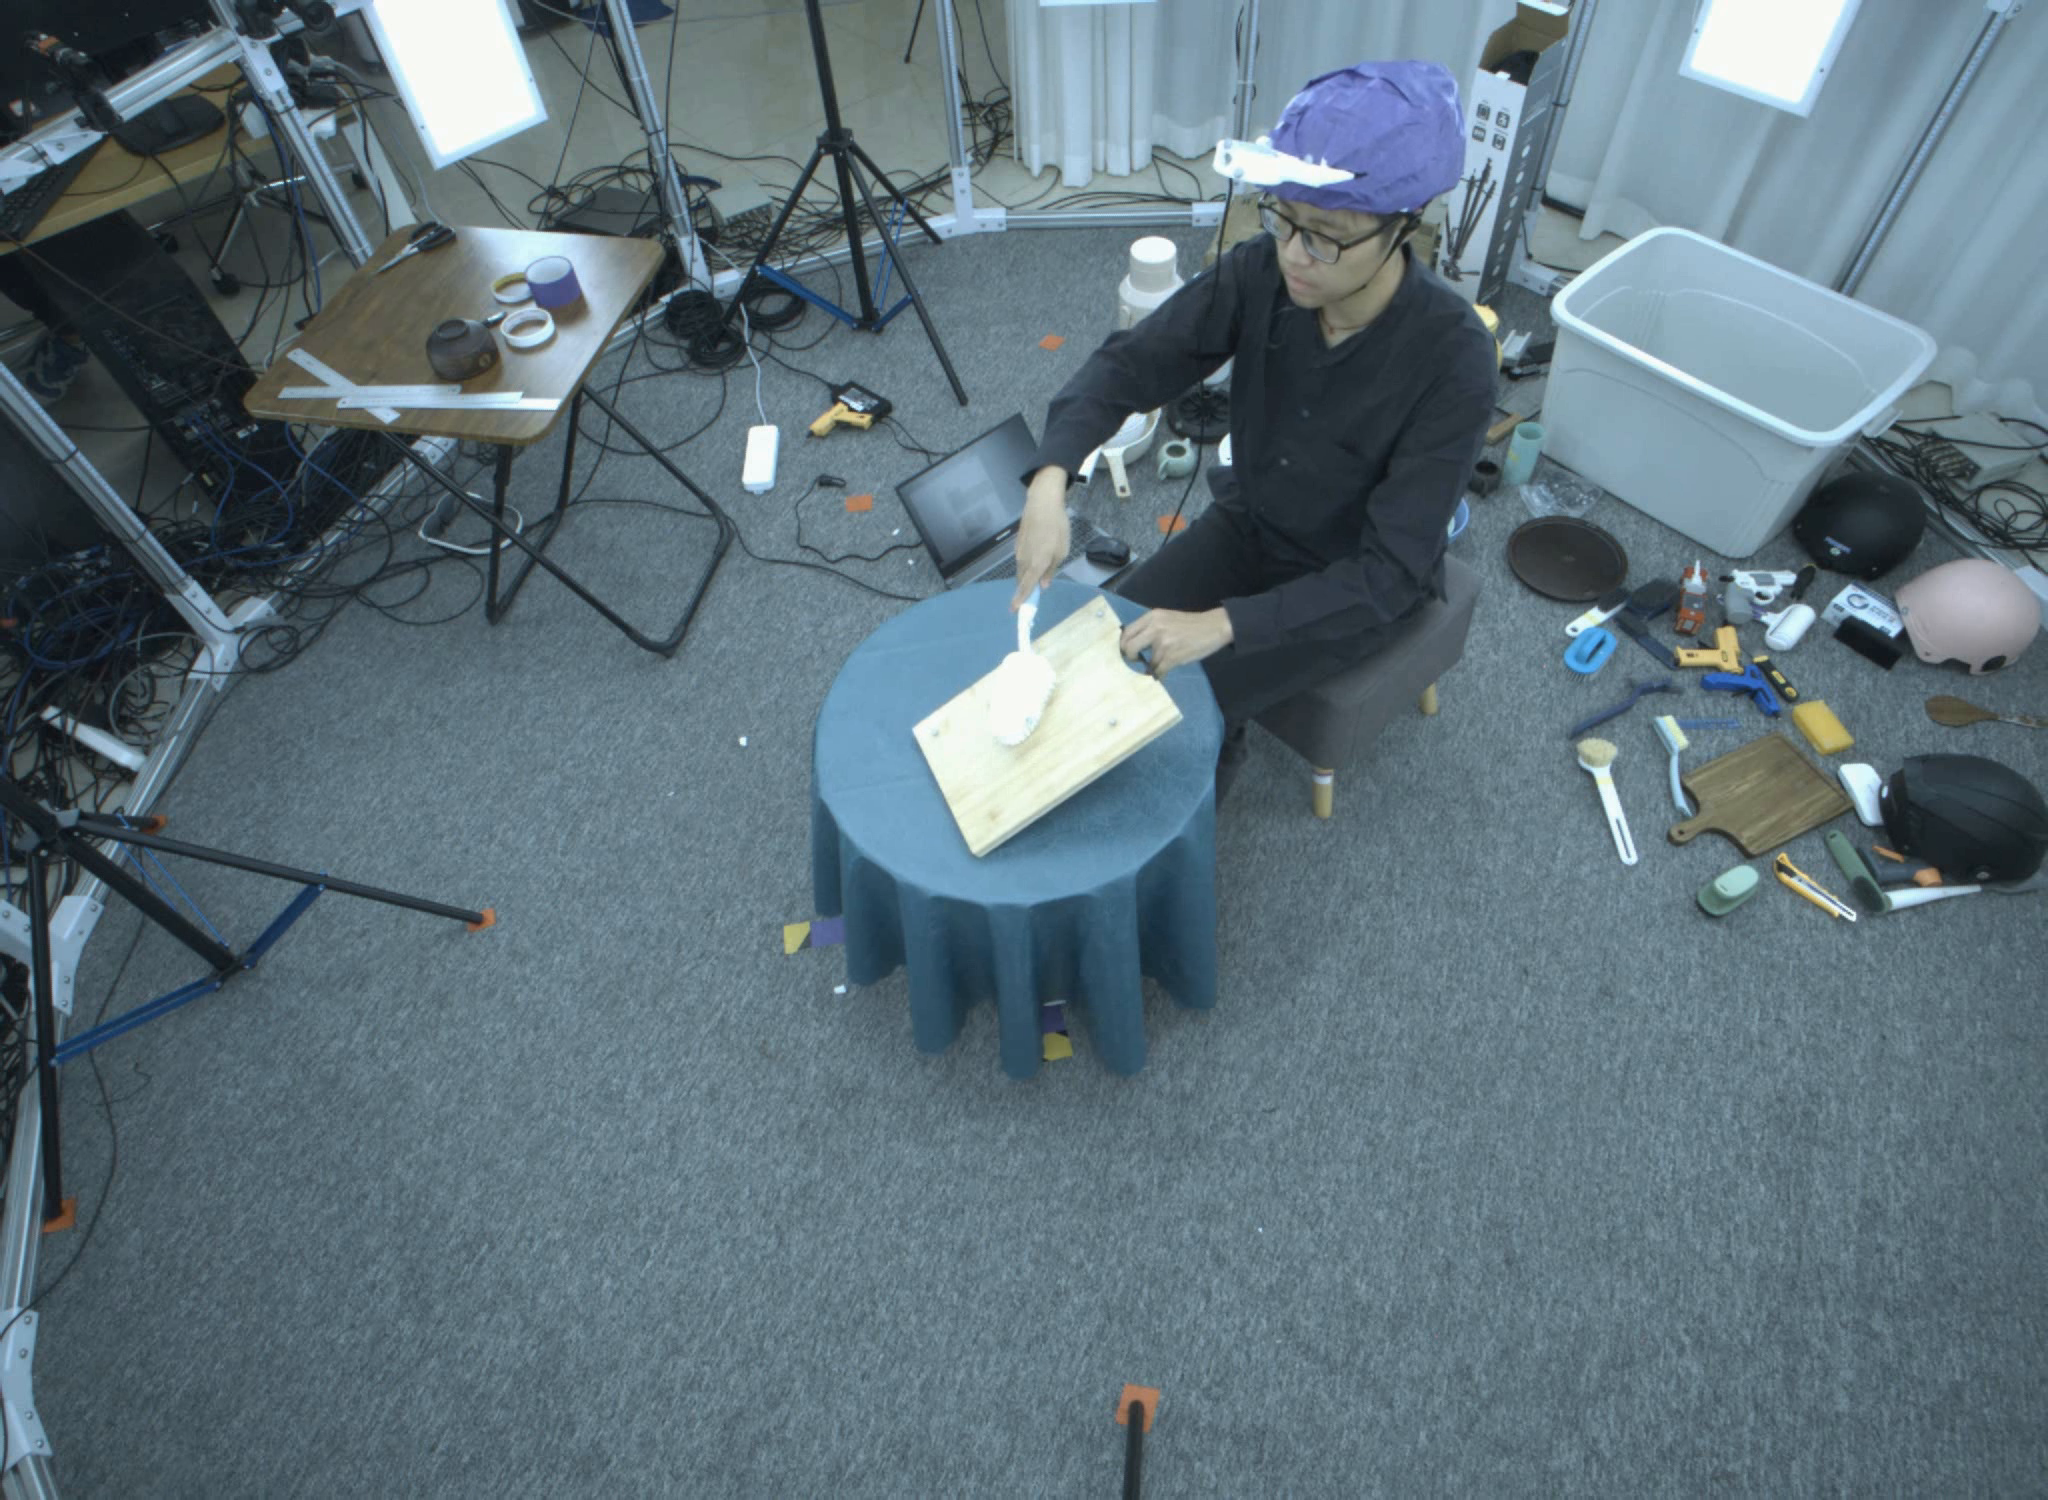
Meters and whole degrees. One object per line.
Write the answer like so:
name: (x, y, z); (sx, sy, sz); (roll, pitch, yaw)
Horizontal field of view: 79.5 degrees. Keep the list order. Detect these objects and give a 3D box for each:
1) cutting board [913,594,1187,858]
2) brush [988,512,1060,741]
cutting board: (0.025, -0.037, 1.719); (0.348, 0.024, 0.246); (-36, 58, 6)
brush: (0.018, -0.170, 1.719); (0.084, 0.083, 0.325); (15, 85, -14)
